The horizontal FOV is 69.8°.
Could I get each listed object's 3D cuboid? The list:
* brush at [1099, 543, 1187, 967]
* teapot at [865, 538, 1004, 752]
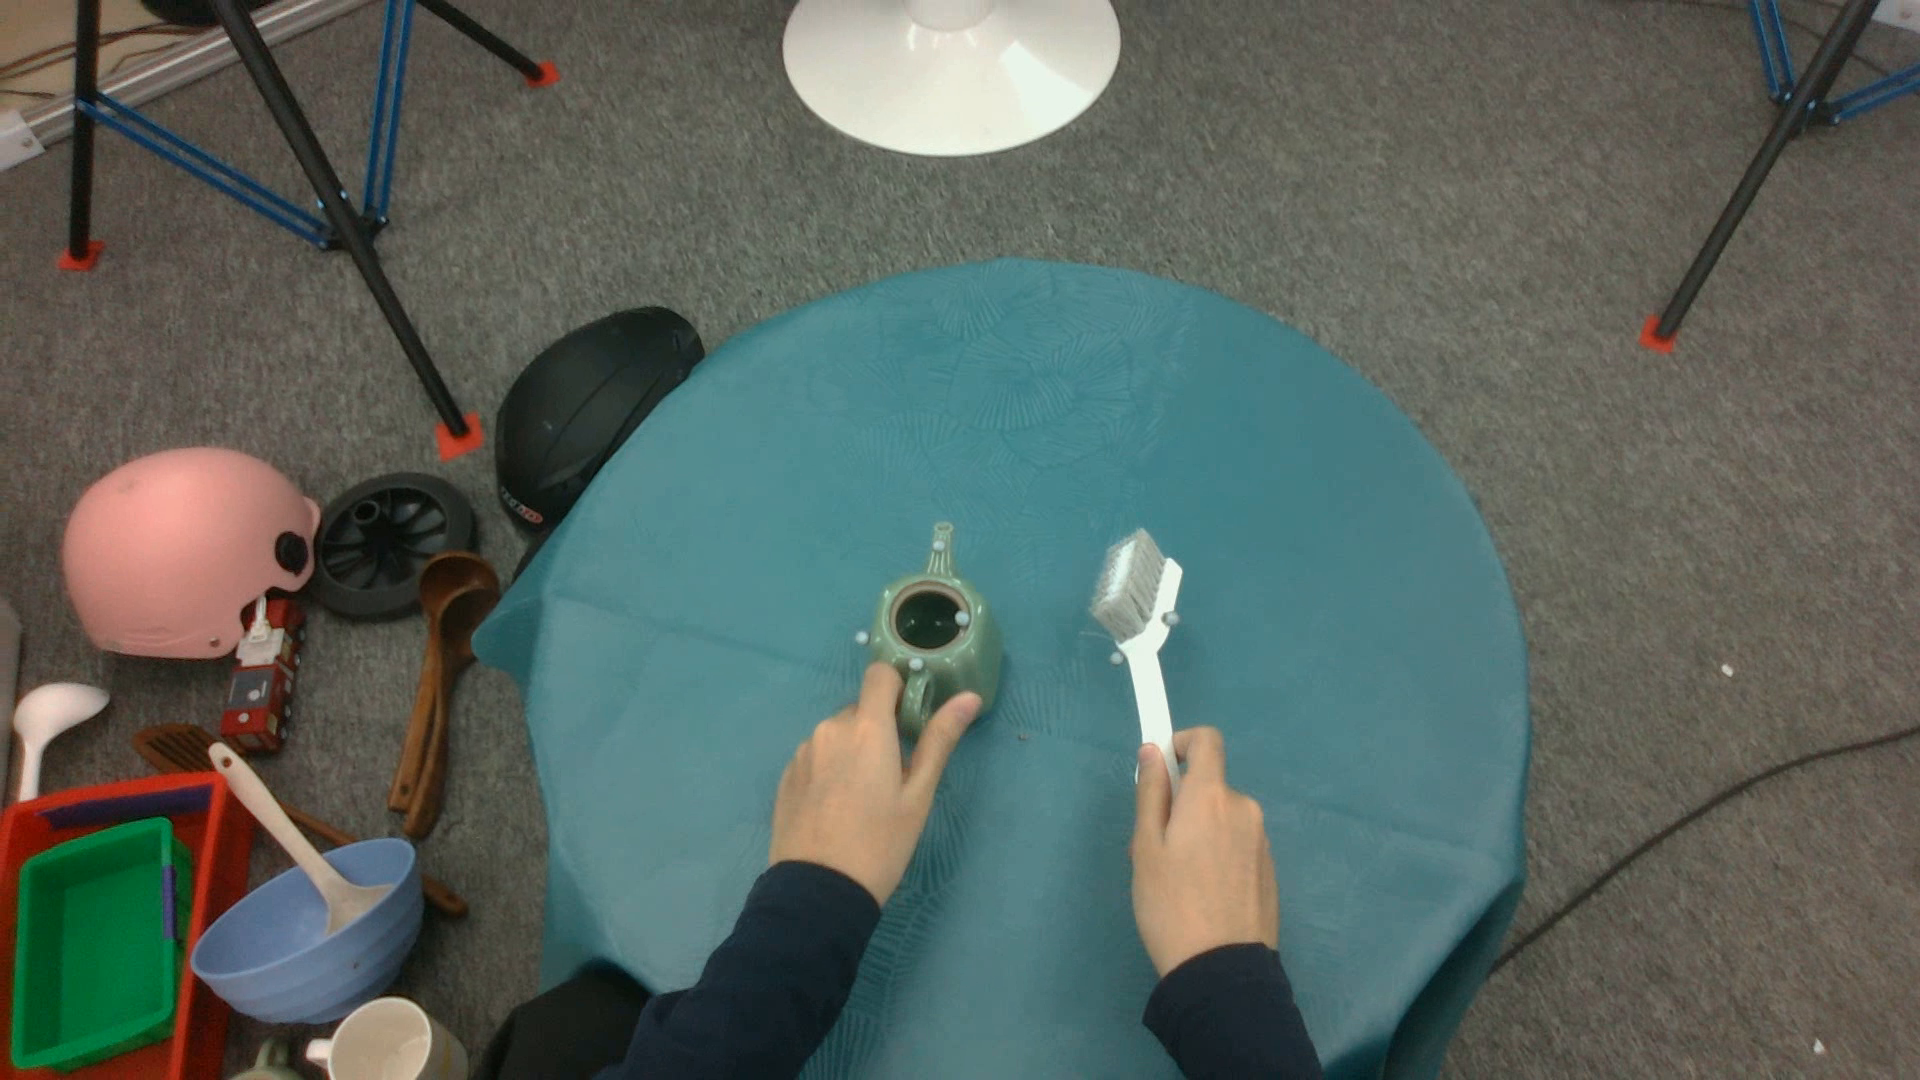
[{"bbox_3d":[0.097,0.106,0.748,0.034,0.050,0.245,-22,45,34],"label":"brush"},{"bbox_3d":[-0.016,0.070,0.803,0.080,0.075,0.133,5,57,6],"label":"teapot"}]
